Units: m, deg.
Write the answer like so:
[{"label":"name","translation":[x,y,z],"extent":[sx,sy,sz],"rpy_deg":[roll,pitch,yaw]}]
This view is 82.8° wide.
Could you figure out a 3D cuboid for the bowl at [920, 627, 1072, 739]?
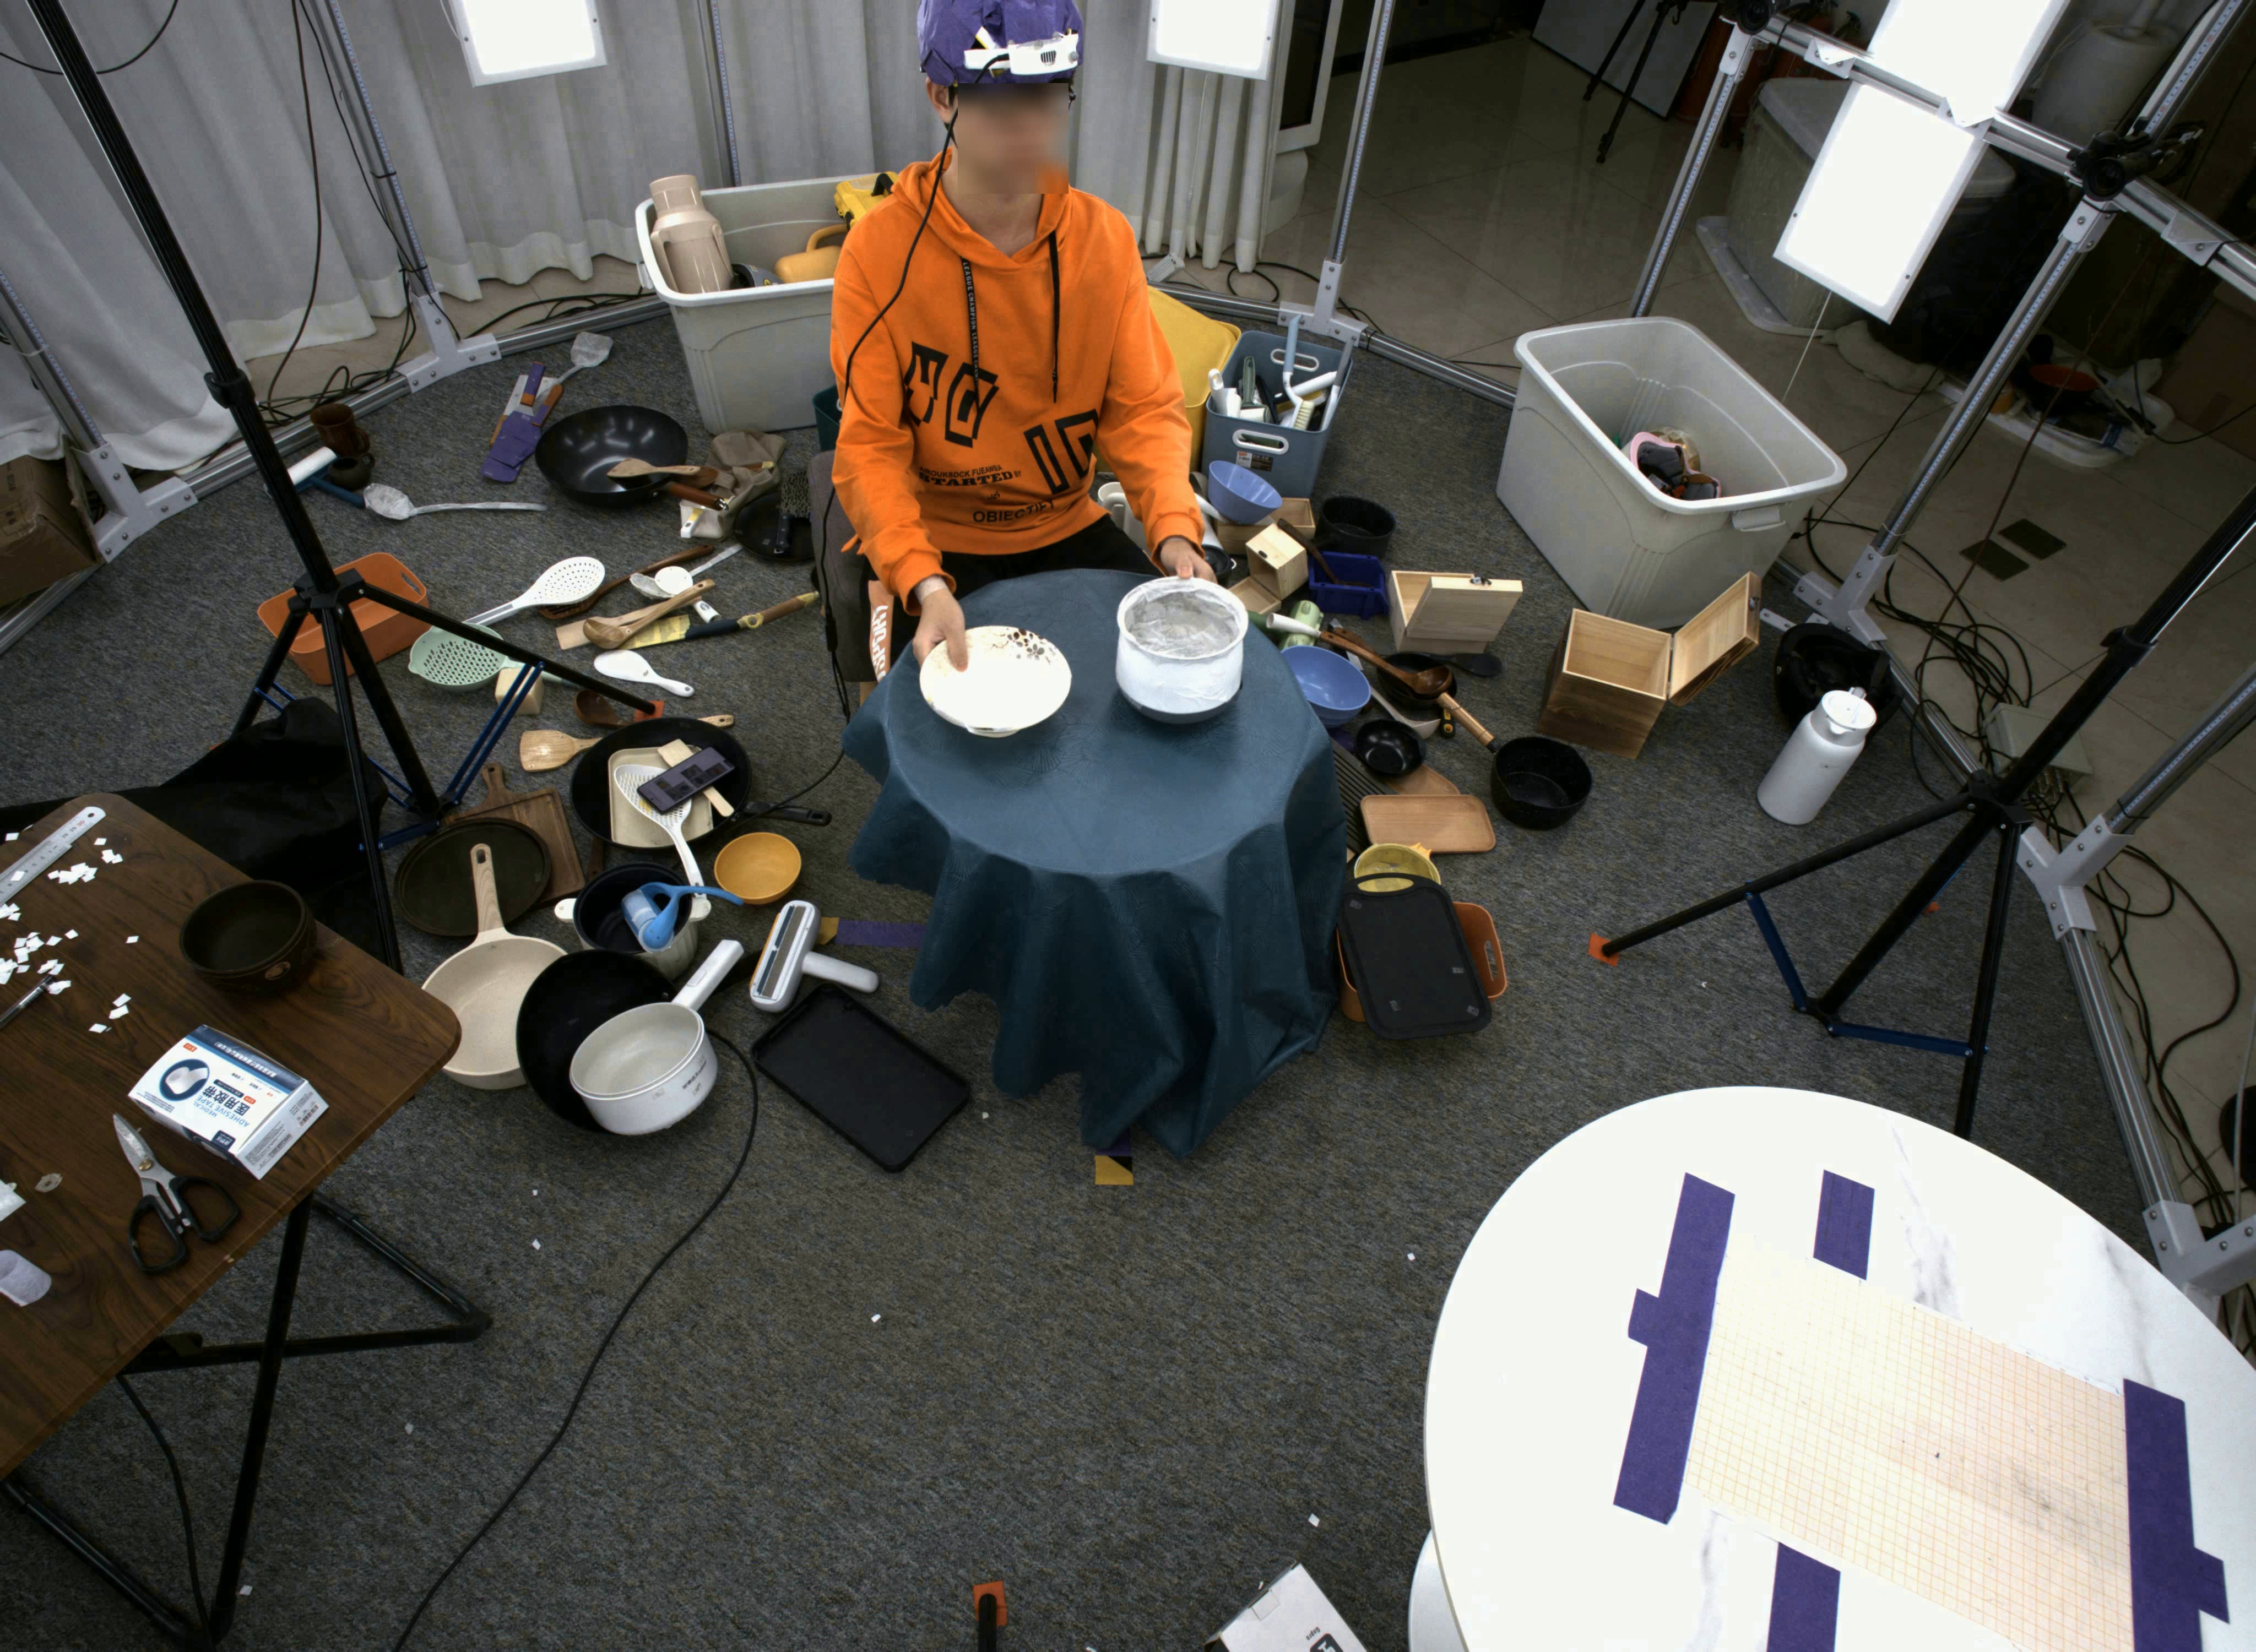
[{"label":"bowl","translation":[-0.181,-0.177,1.758],"extent":[0.204,0.076,0.209],"rpy_deg":[4,47,-4]}]

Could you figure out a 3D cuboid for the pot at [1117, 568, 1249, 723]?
[{"label":"pot","translation":[0.074,-0.261,1.789],"extent":[0.178,0.133,0.239],"rpy_deg":[3,46,0]}]
